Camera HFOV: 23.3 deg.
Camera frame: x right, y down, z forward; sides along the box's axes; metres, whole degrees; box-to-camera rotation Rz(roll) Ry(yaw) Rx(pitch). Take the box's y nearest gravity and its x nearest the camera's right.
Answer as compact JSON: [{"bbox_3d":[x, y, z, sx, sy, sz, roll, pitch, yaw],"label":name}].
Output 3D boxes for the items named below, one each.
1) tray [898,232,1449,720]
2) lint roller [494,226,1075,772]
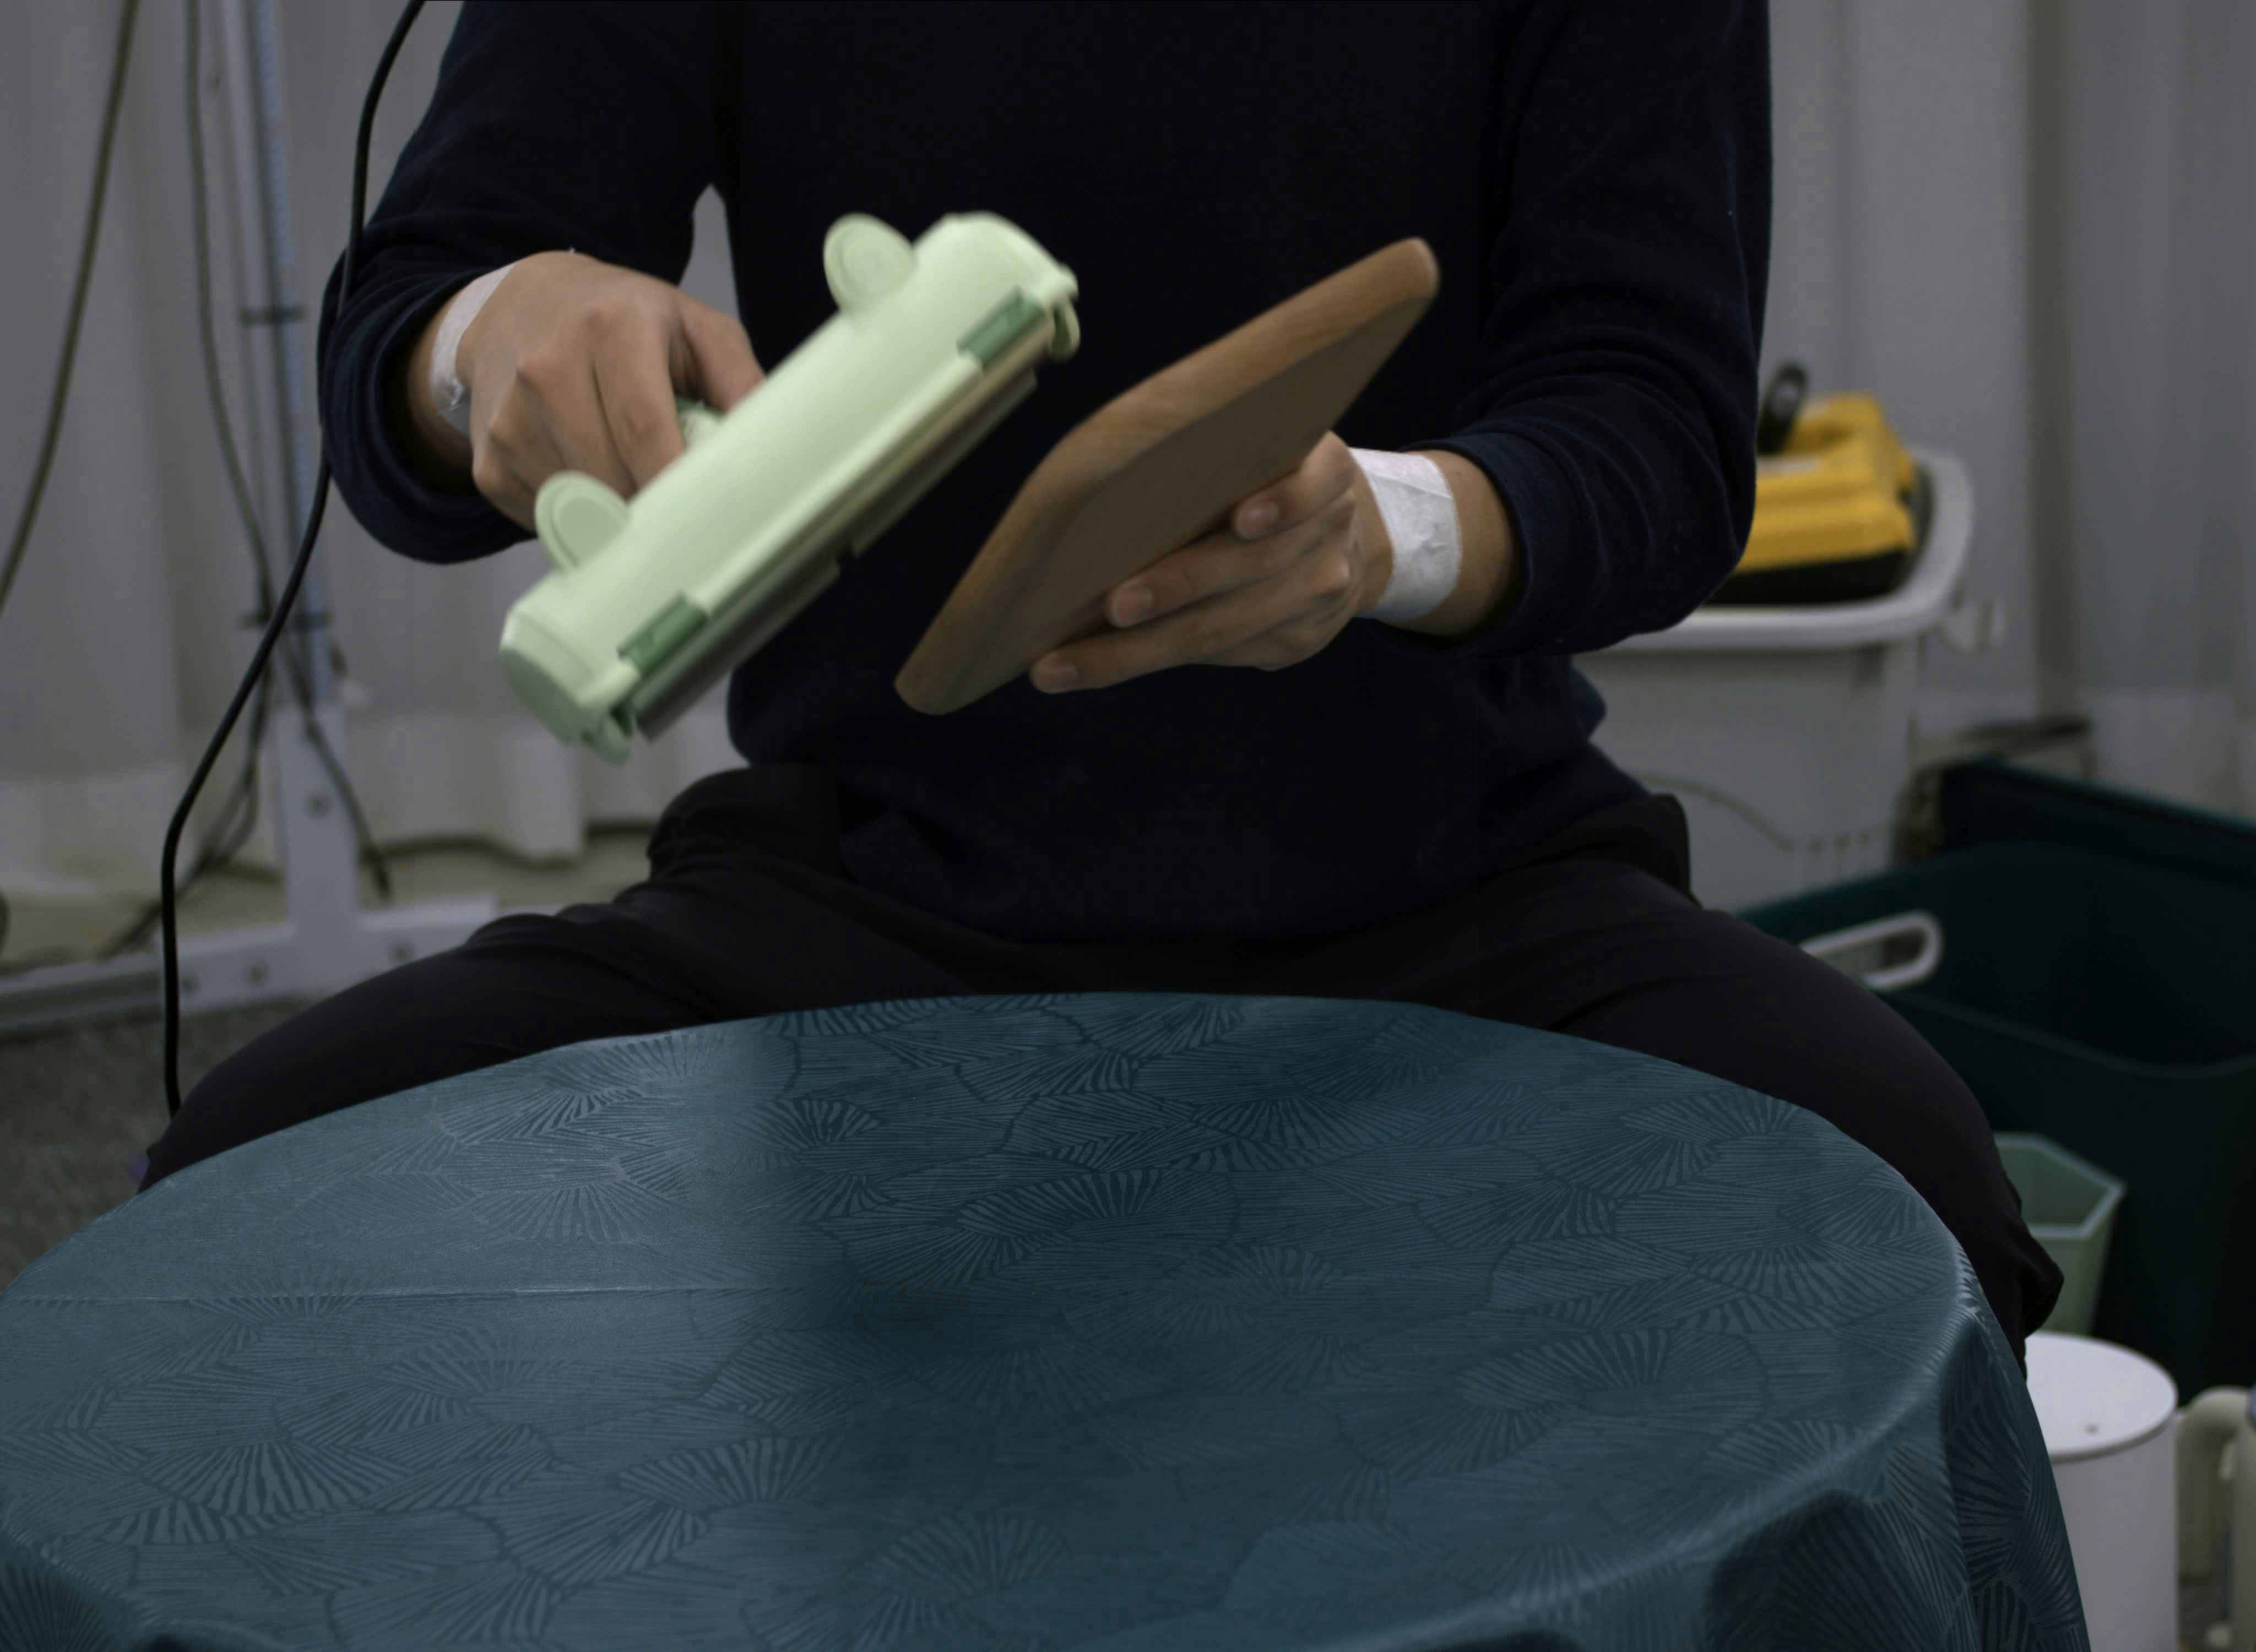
[{"bbox_3d":[0.010,-0.093,1.539,0.130,0.023,0.249,-29,-8,-20],"label":"tray"},{"bbox_3d":[-0.135,-0.119,1.622,0.199,0.081,0.185,-43,41,-18],"label":"lint roller"}]
